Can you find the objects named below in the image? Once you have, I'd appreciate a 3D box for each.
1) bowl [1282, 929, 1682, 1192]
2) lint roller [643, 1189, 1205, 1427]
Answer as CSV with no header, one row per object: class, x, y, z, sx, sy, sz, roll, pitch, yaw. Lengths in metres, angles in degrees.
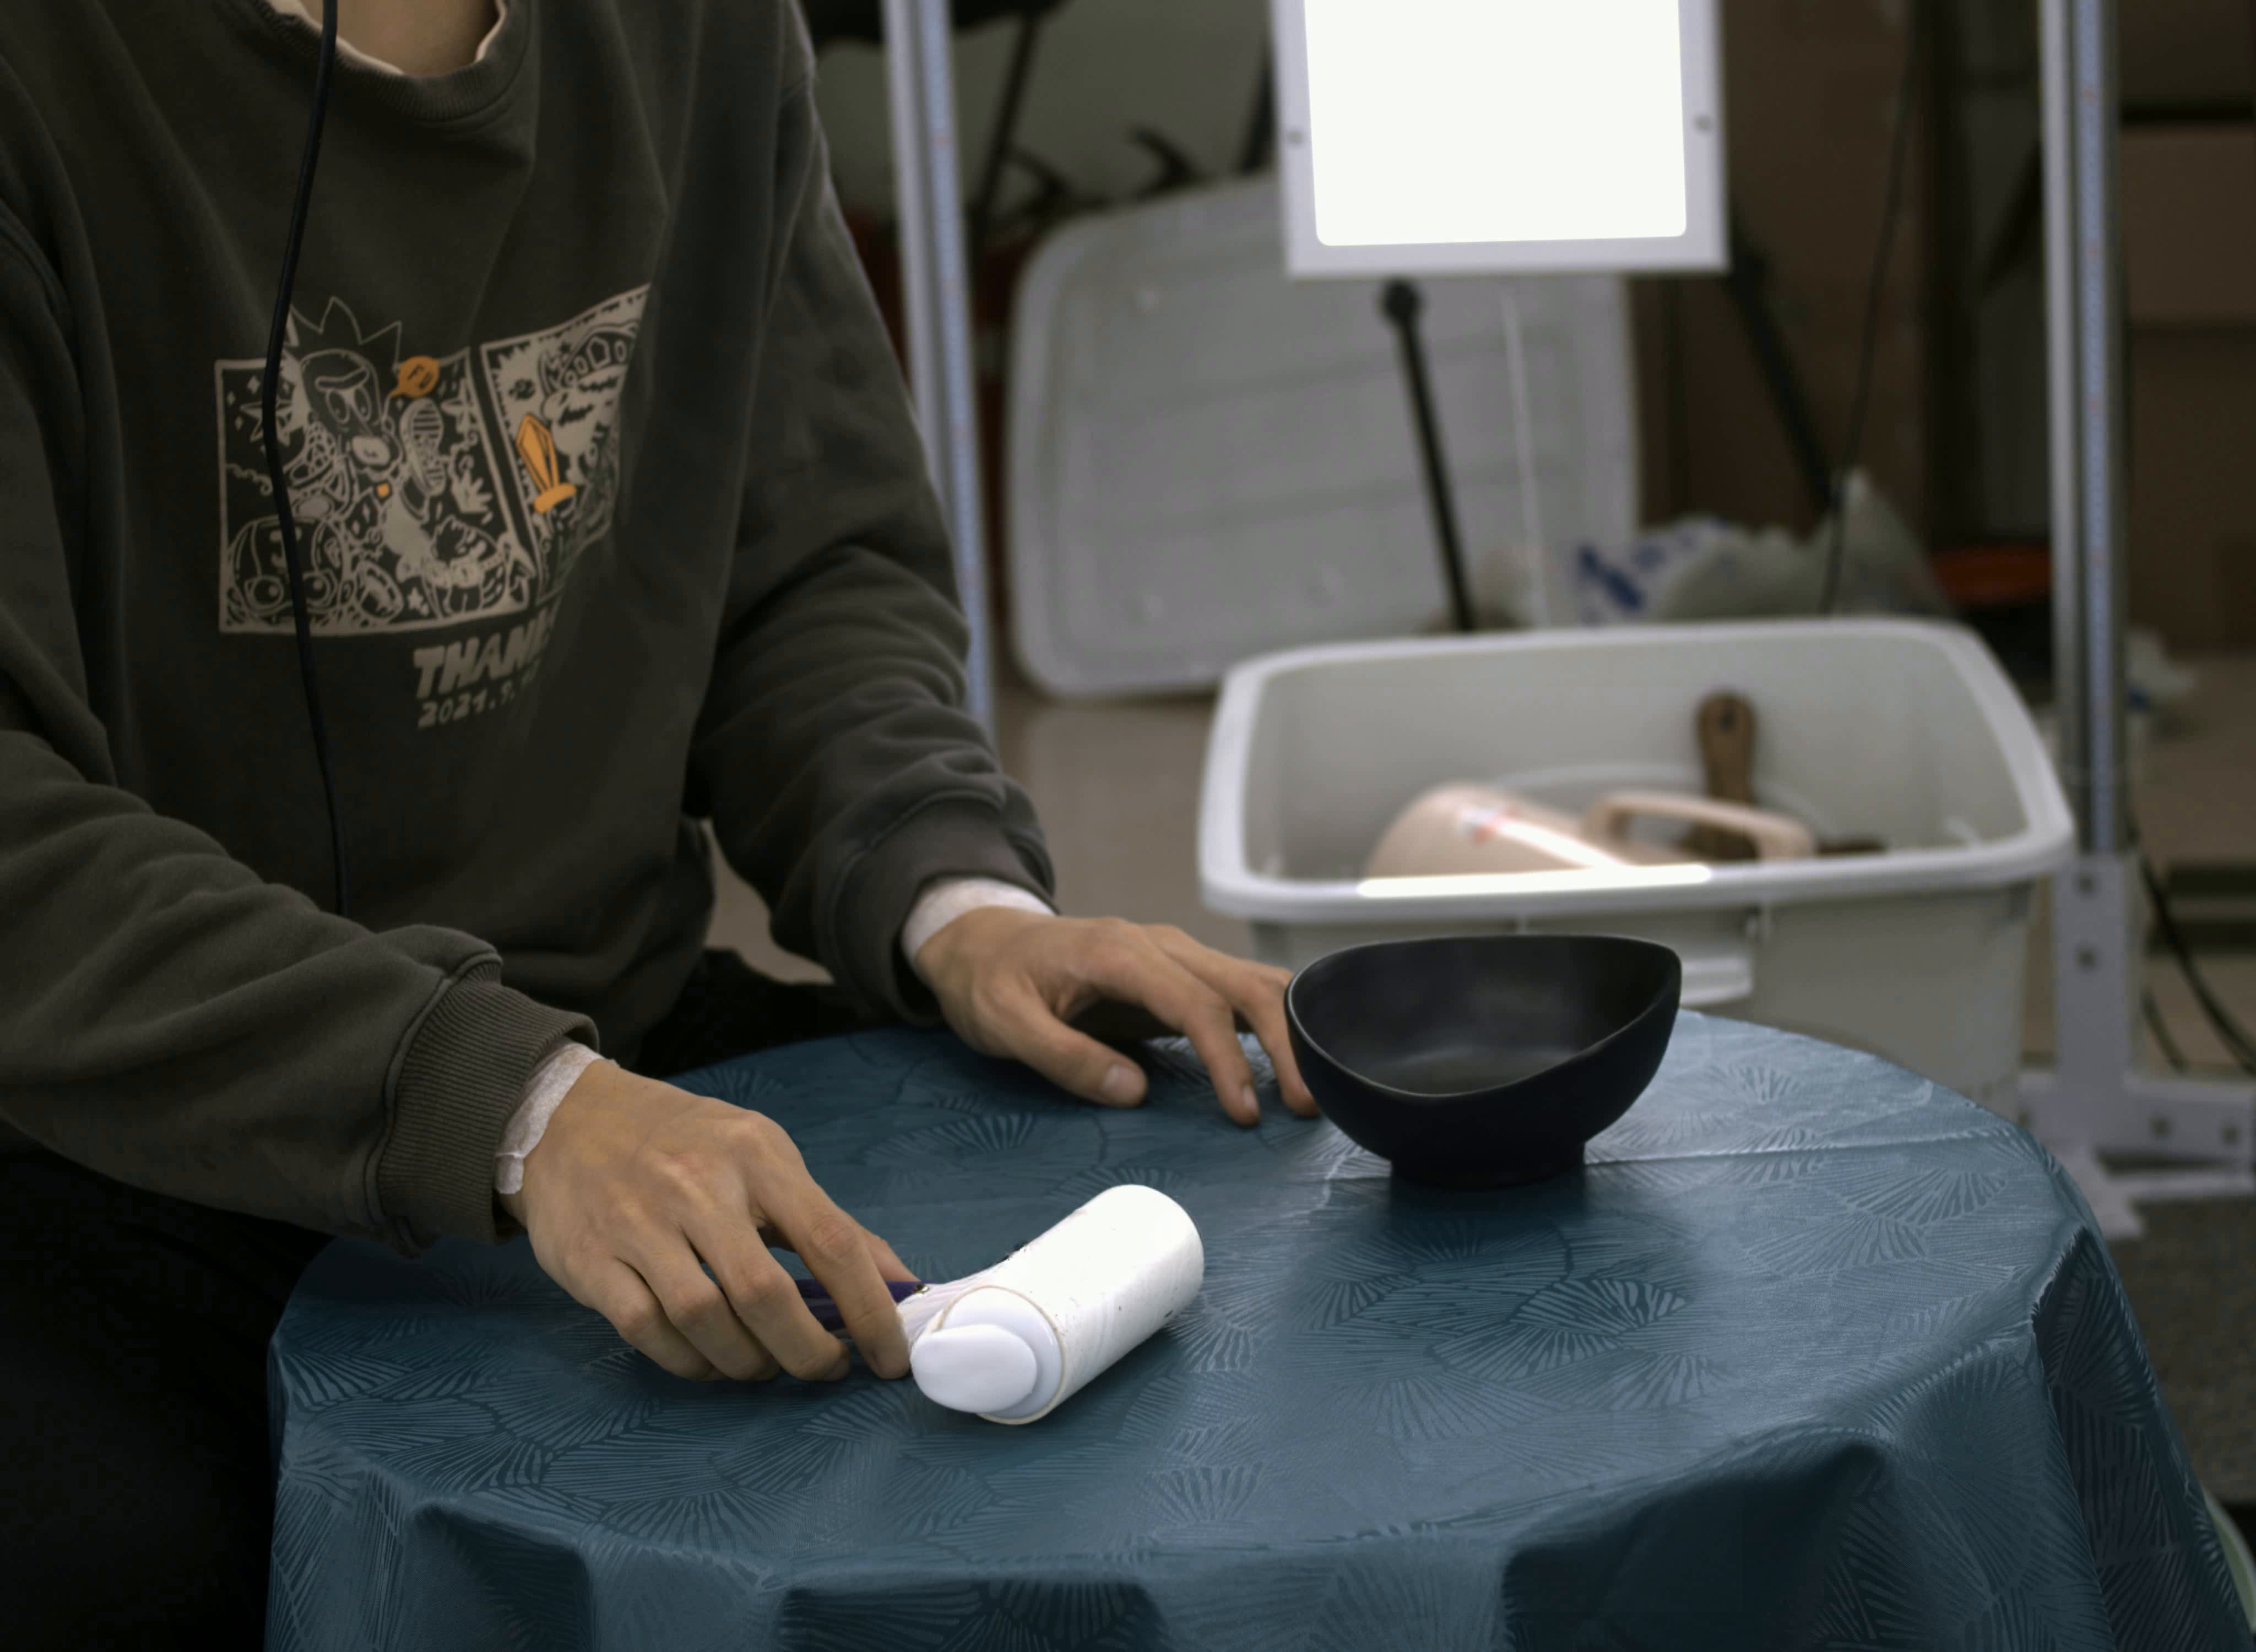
bowl,0.124,0.084,1.891,0.138,0.067,0.168,-3,16,13
lint roller,-0.075,0.144,1.751,0.184,0.050,0.130,6,18,29
